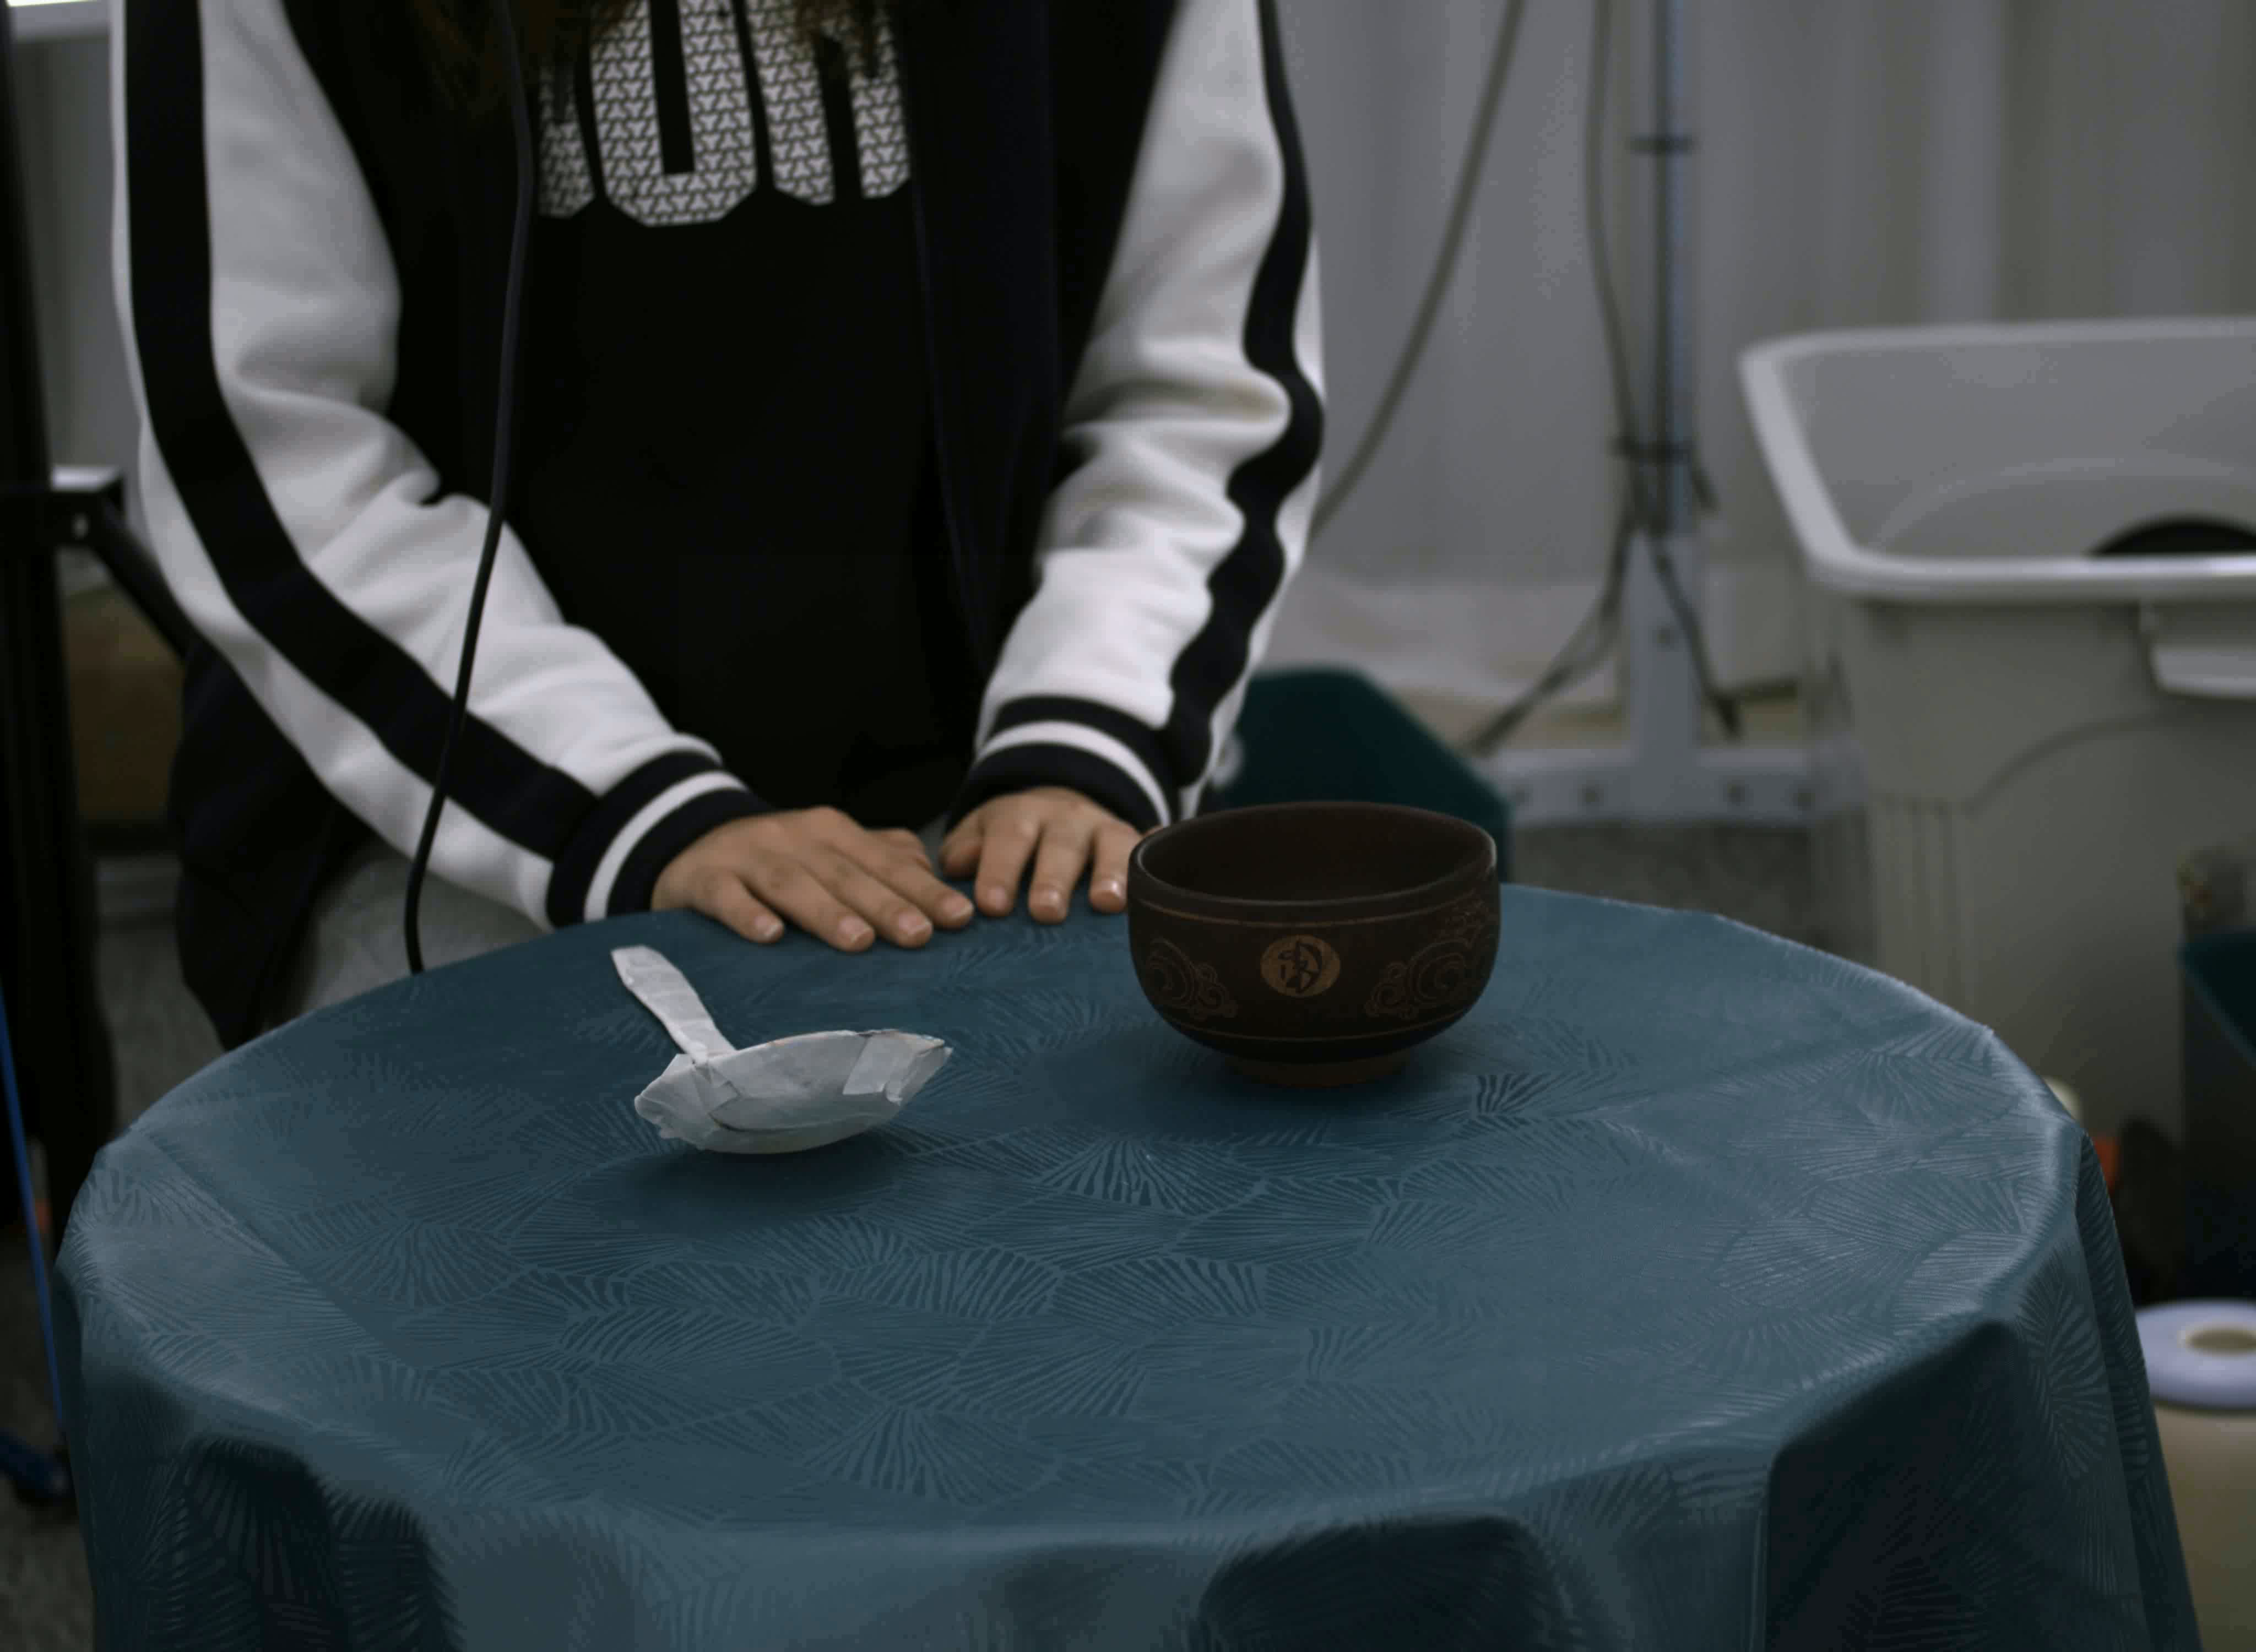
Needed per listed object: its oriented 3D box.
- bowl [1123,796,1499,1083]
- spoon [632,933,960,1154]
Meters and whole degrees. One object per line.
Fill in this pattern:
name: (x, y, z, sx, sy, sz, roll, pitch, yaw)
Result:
bowl: (0.058, 0.039, 1.658, 0.117, 0.070, 0.118, -2, 15, -1)
spoon: (-0.122, 0.050, 1.678, 0.099, 0.059, 0.281, -4, 16, -14)
